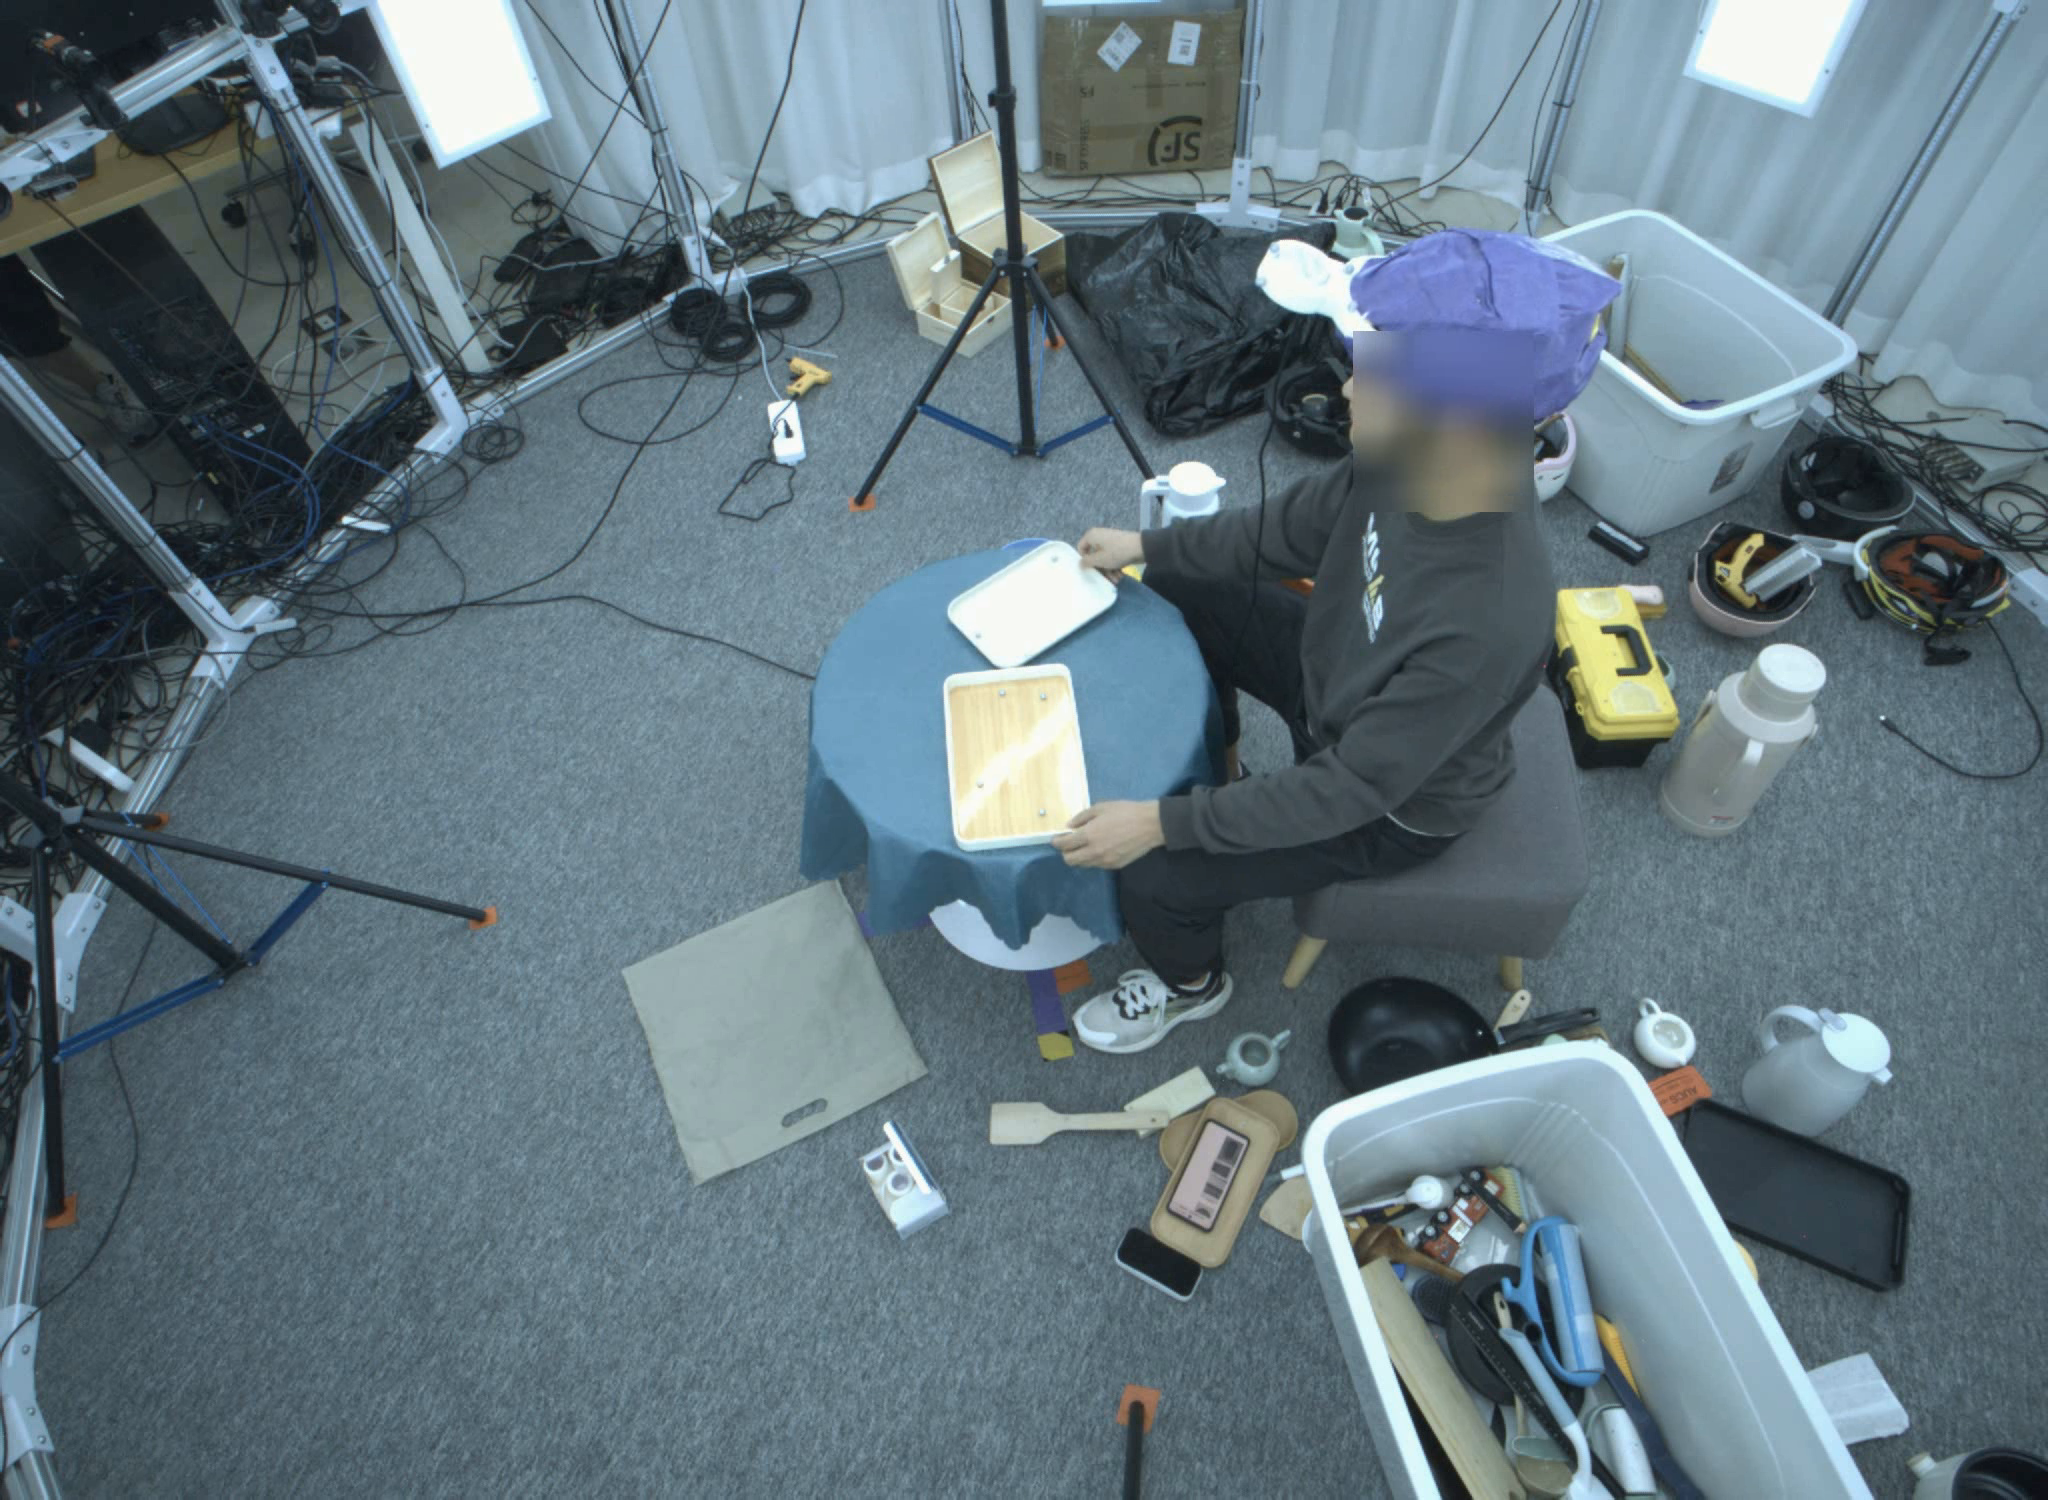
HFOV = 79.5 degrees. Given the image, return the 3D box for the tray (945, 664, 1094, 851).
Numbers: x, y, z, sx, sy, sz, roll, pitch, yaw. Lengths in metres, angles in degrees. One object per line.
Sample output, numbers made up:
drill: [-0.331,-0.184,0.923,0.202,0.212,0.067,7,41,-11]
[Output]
tray: [-0.010,0.005,1.766,0.192,0.028,0.296,-5,55,-3]

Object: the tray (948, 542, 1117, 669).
tray: [0.013,-0.228,1.931,0.241,0.017,0.168,-34,62,-18]
